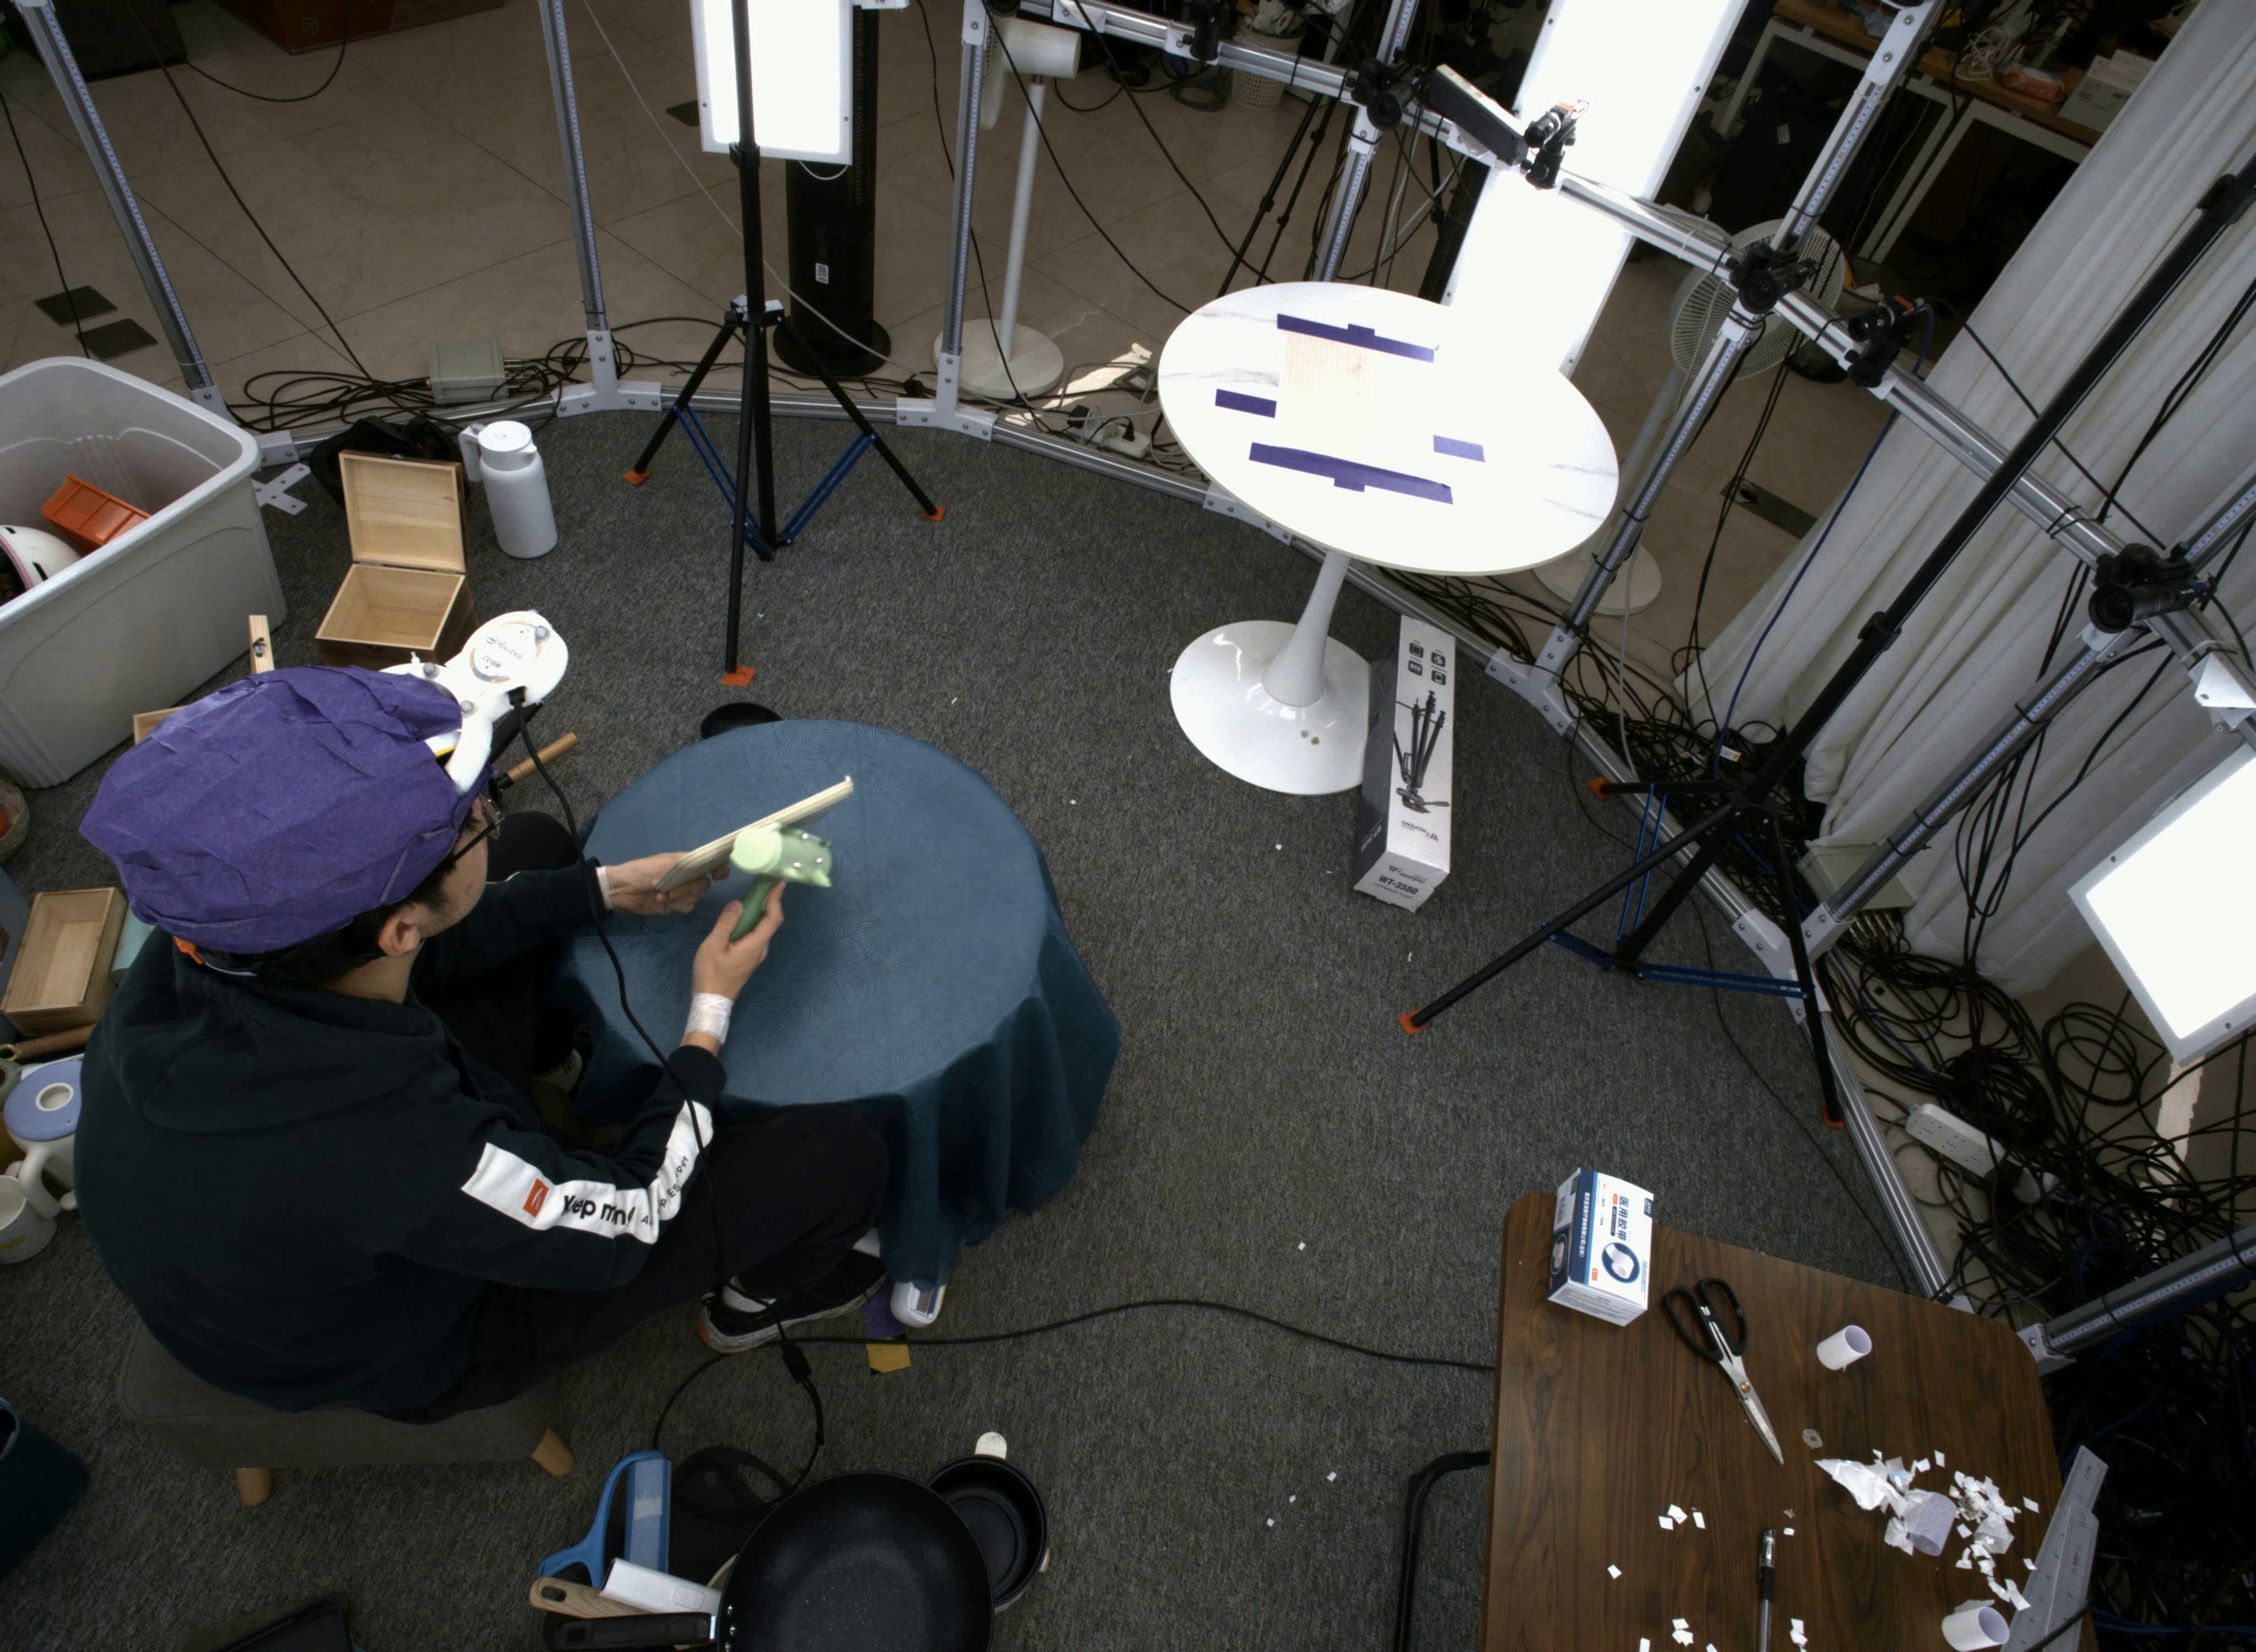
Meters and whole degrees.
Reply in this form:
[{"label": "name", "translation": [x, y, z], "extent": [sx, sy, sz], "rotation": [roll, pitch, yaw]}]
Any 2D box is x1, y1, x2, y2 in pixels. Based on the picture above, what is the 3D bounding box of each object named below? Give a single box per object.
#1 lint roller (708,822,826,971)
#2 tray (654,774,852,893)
[{"label": "lint roller", "translation": [-0.423, 0.091, 1.510], "extent": [0.081, 0.200, 0.184], "rotation": [21, 85, 6]}, {"label": "tray", "translation": [-0.447, 0.009, 1.551], "extent": [0.241, 0.169, 0.017], "rotation": [-31, 92, -36]}]
